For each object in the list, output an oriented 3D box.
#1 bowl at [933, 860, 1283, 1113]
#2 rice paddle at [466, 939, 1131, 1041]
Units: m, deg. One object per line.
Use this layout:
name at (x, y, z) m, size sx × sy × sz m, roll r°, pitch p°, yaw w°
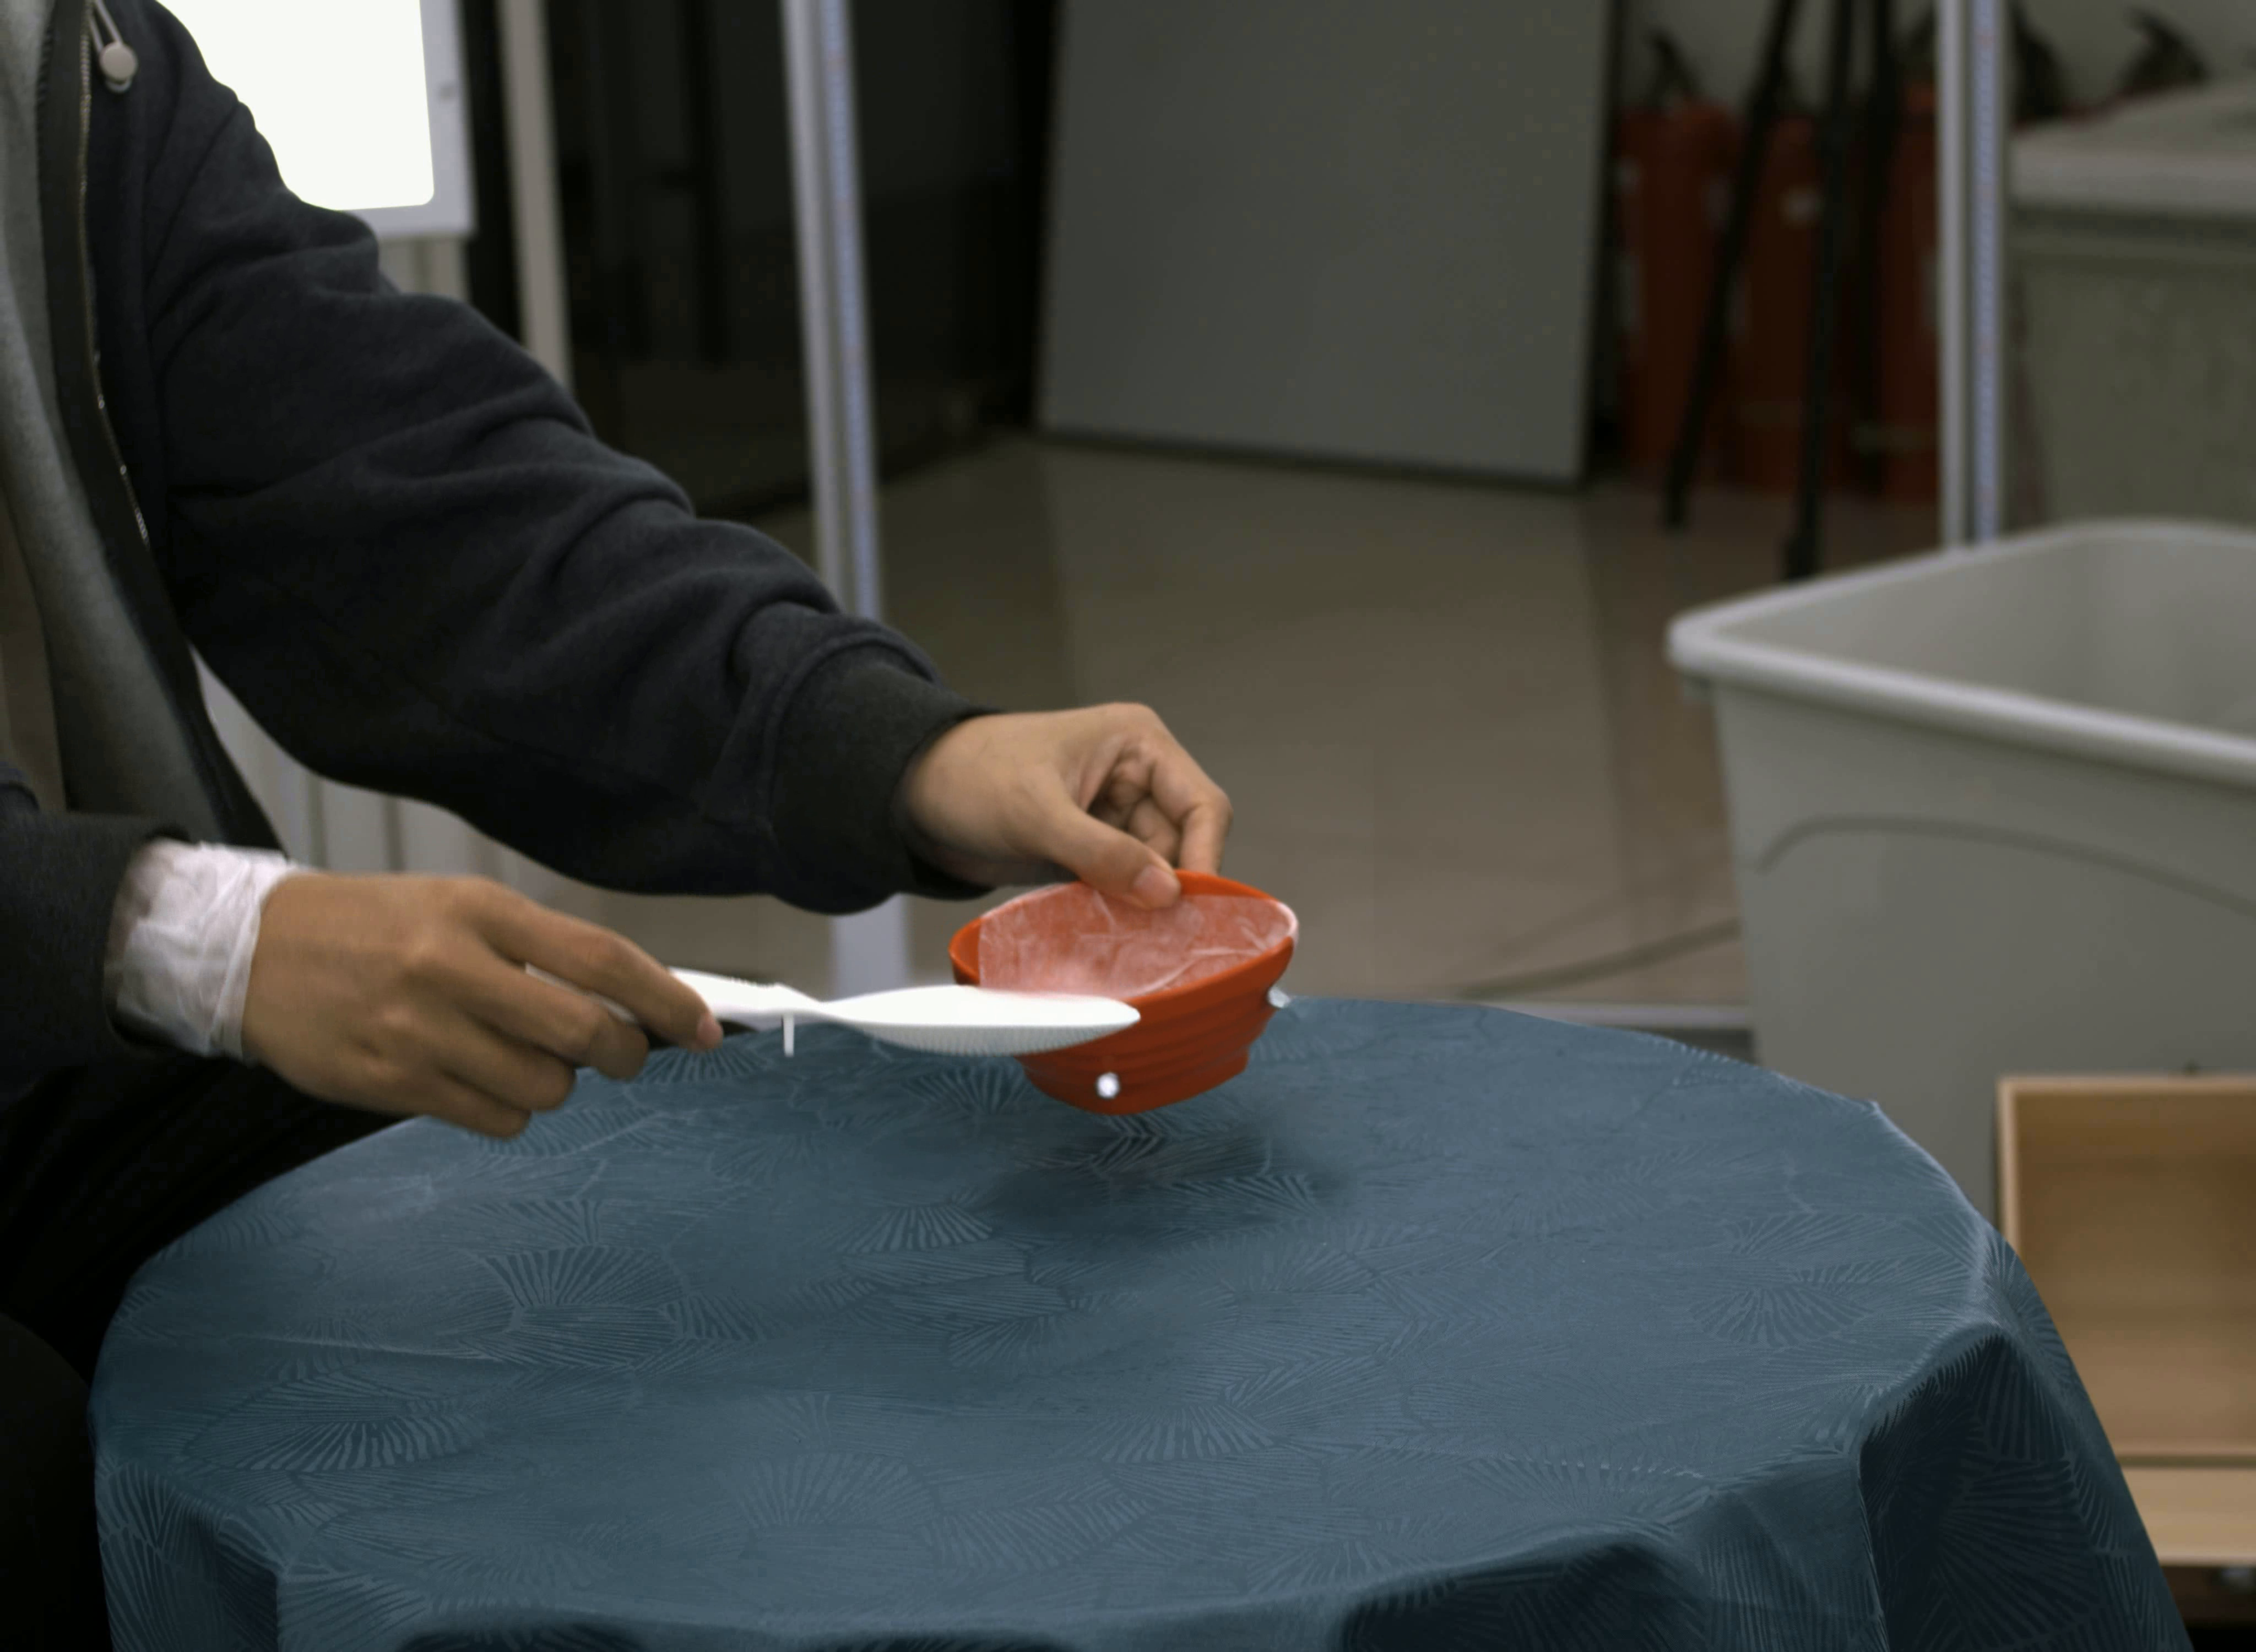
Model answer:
bowl at (-0.004, 0.056, 1.792) m, size 0.117 × 0.052 × 0.119 m, roll -8°, pitch 20°, yaw 2°
rice paddle at (-0.099, 0.050, 1.645) m, size 0.202 × 0.030 × 0.069 m, roll 0°, pitch 8°, yaw -6°
